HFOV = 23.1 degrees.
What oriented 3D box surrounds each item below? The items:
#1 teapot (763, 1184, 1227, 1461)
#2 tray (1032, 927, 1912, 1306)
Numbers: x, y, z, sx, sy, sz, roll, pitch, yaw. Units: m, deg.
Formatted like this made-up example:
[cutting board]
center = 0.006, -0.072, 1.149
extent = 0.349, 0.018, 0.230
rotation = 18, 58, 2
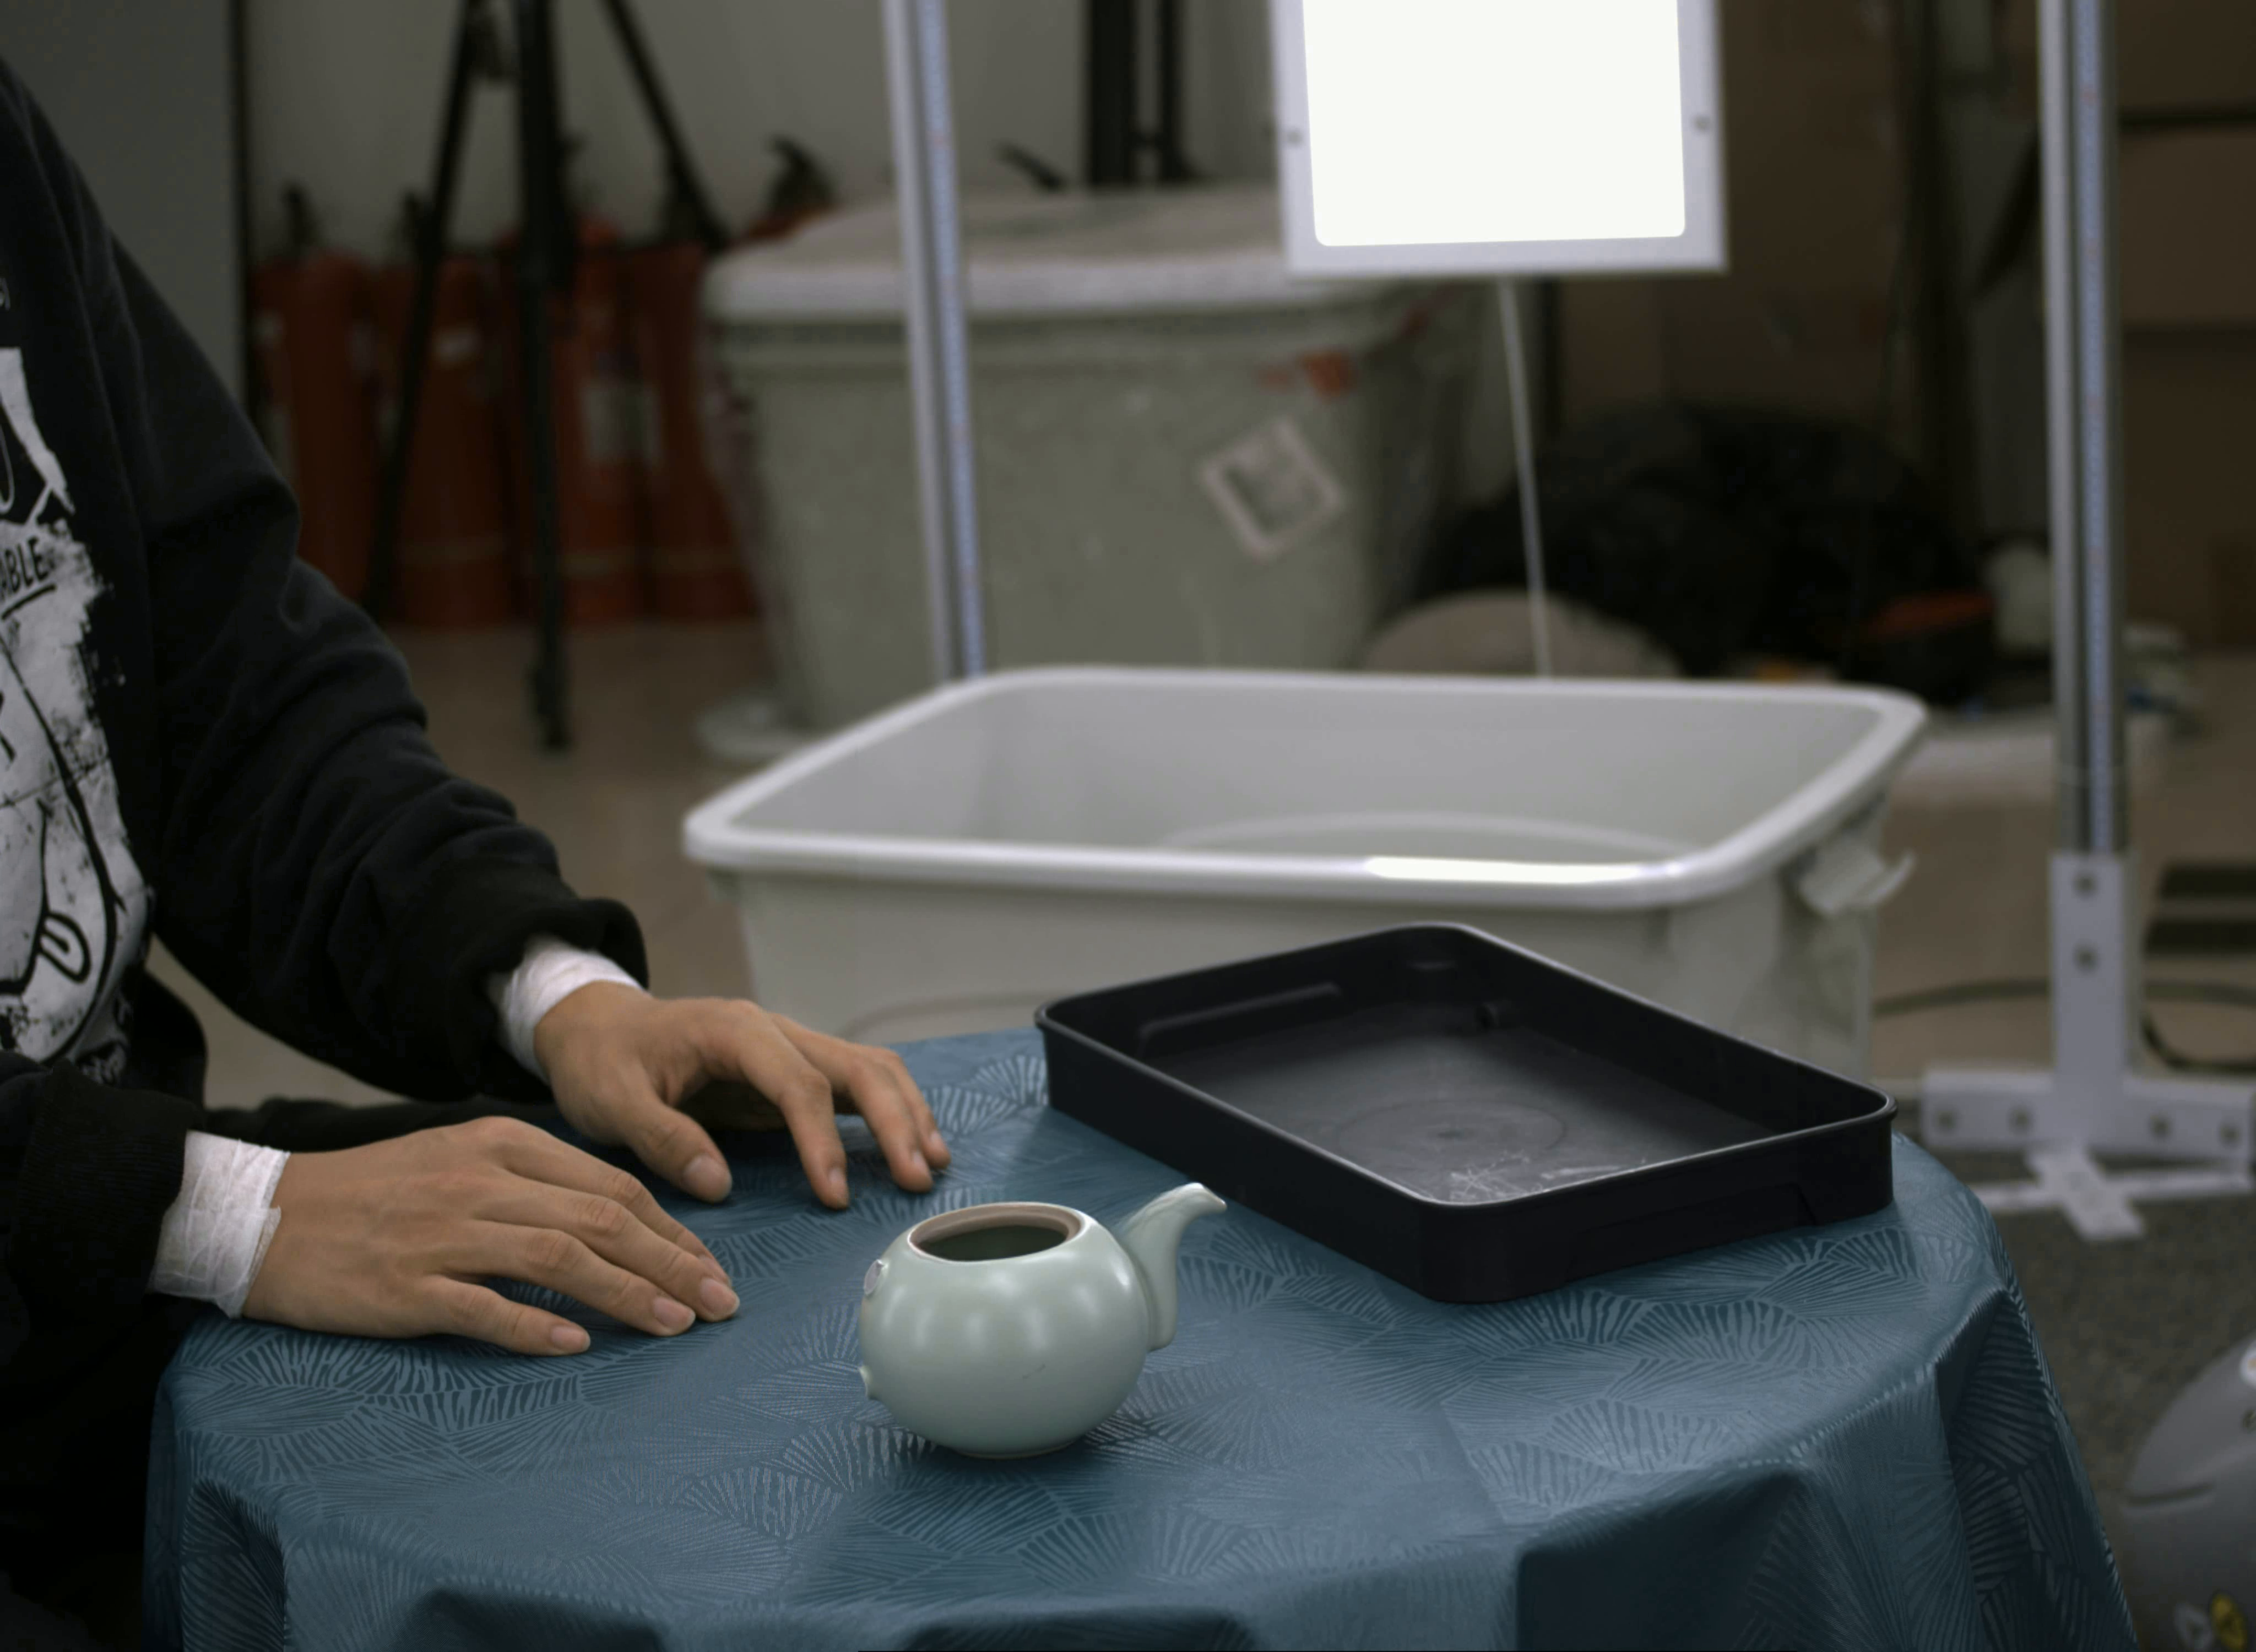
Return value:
[teapot]
center = -0.038, 0.150, 1.664
extent = 0.142, 0.075, 0.089
rotation = -5, 14, -7
[tray]
center = 0.114, 0.096, 1.907
extent = 0.180, 0.037, 0.323
rotation = -12, 15, -26
